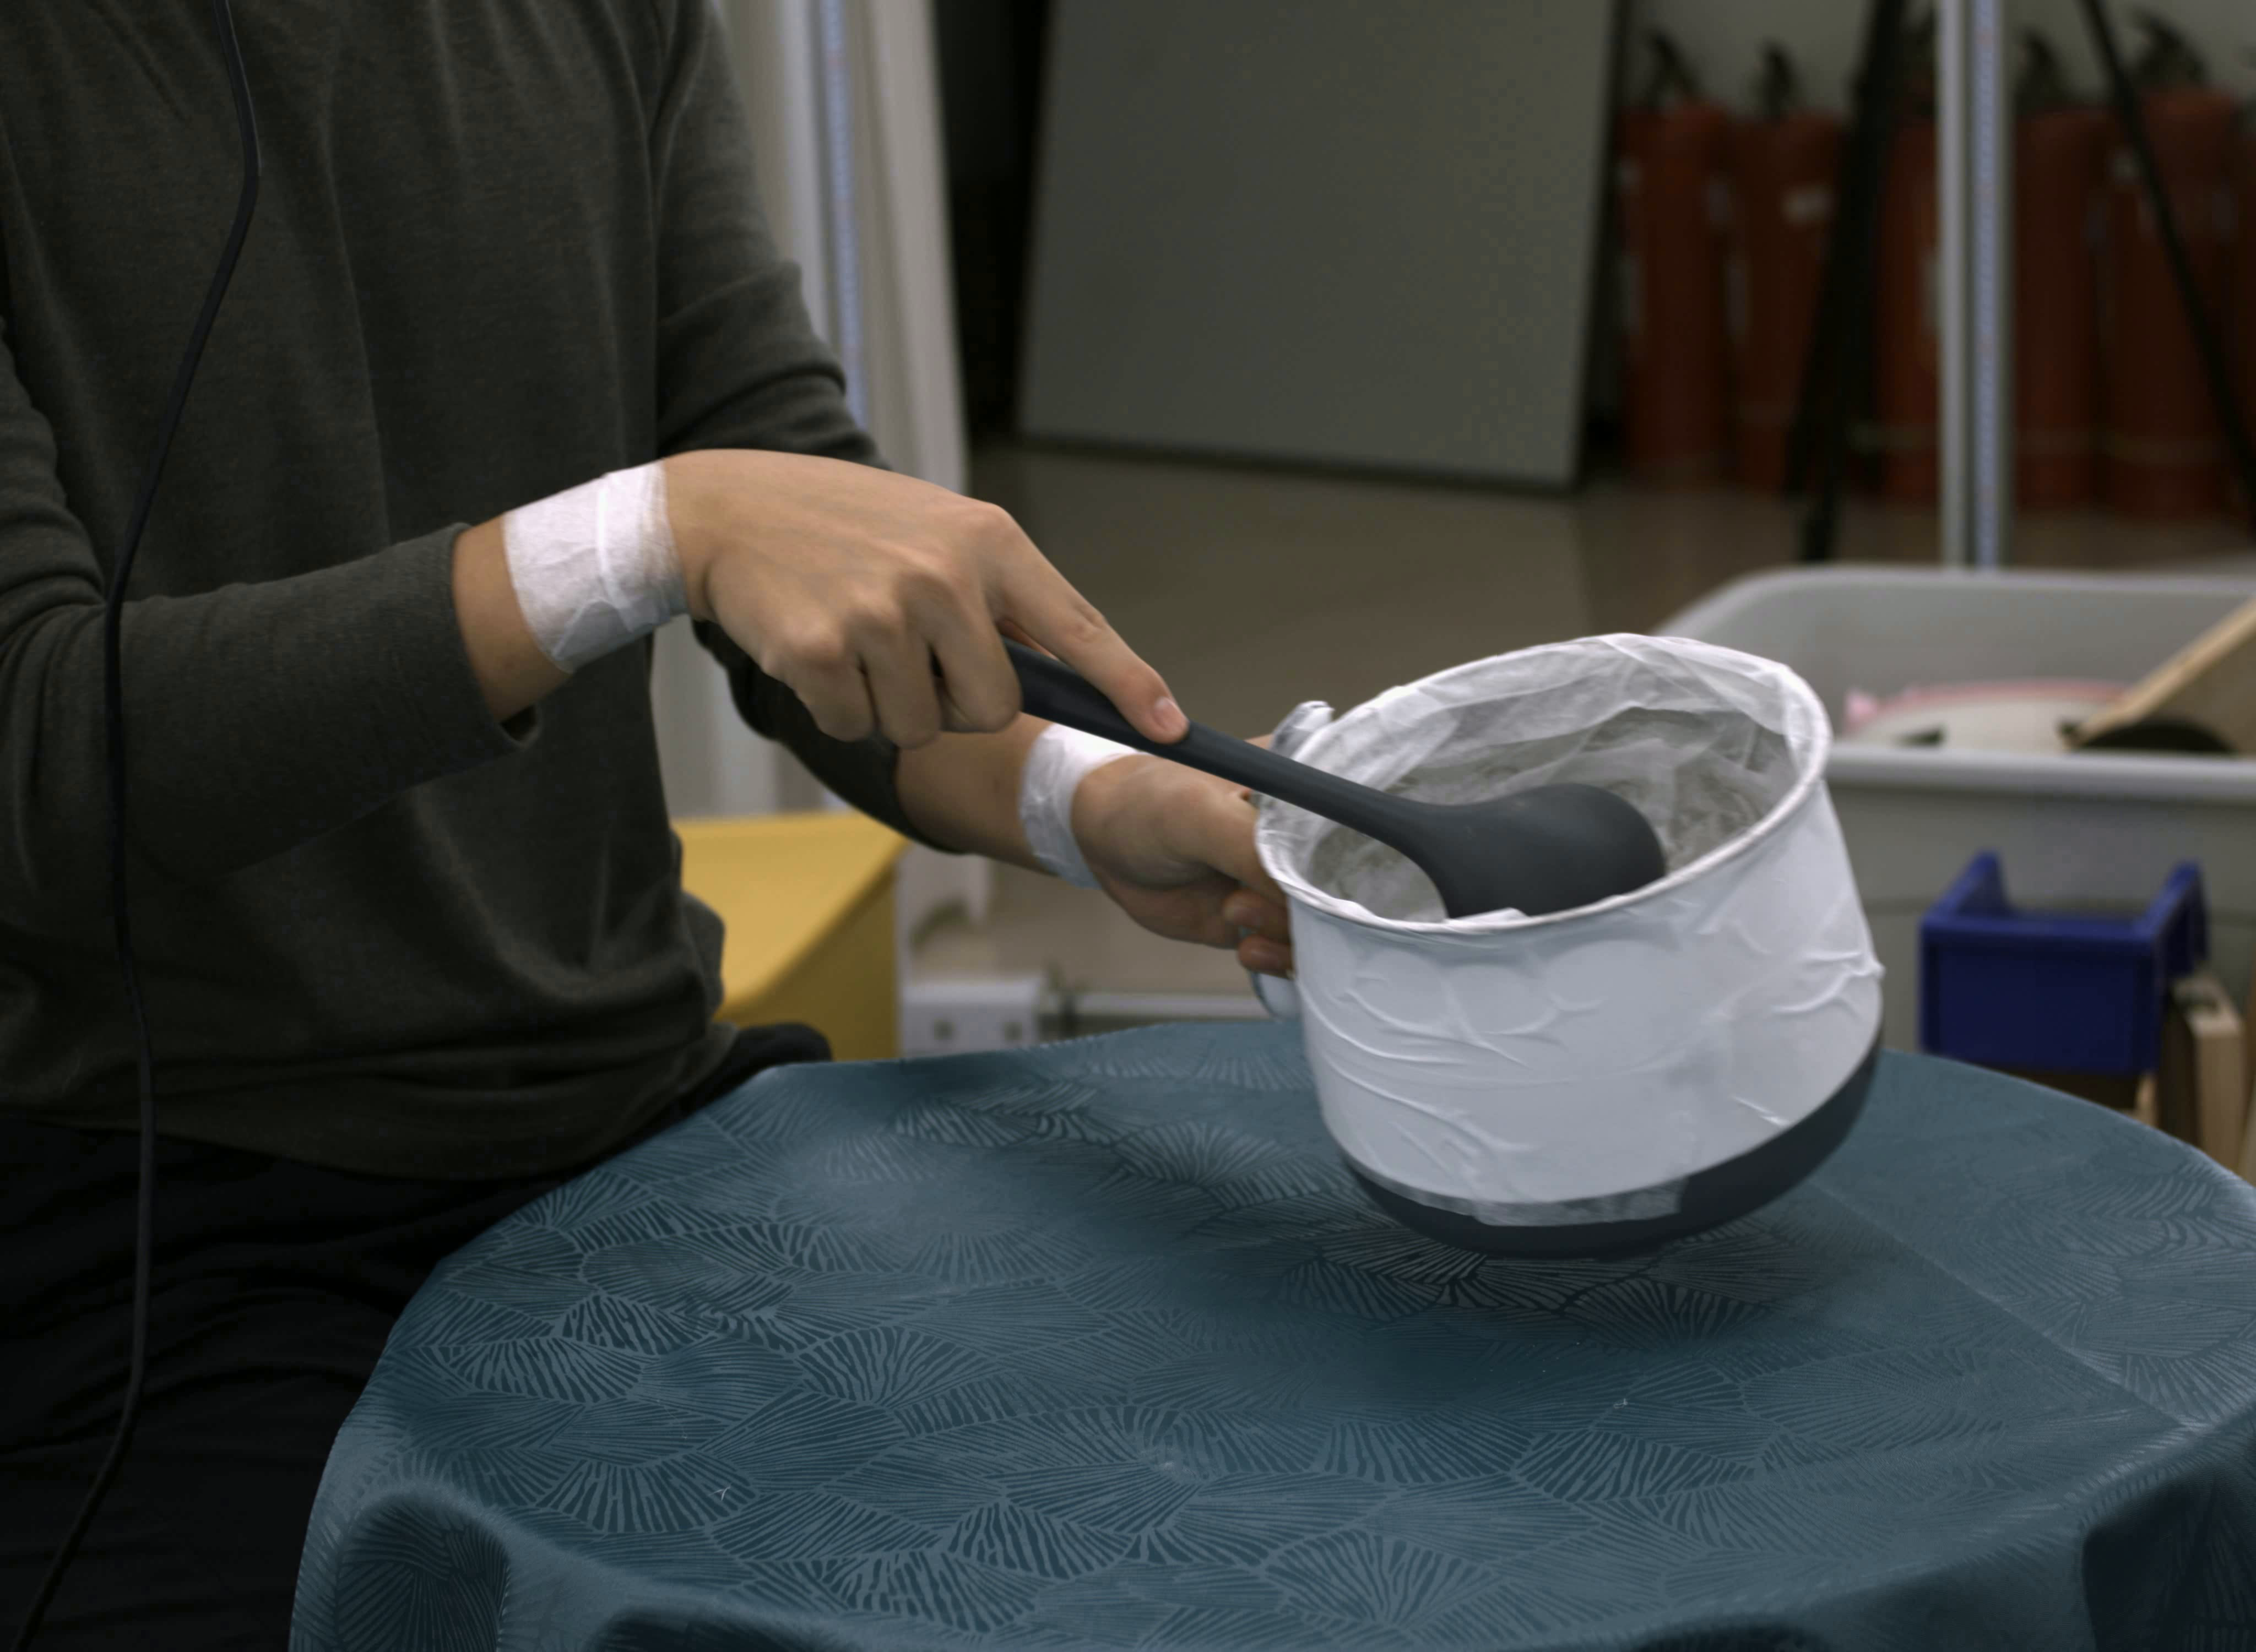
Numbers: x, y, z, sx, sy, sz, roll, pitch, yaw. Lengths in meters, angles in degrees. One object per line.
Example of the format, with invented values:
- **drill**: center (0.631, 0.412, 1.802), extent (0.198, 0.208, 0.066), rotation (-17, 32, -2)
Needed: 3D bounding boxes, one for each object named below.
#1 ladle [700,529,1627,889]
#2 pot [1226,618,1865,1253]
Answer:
- **ladle**: center (0.007, -0.027, 1.679), extent (0.314, 0.086, 0.064), rotation (20, -24, 19)
- **pot**: center (0.114, 0.030, 1.662), extent (0.176, 0.137, 0.236), rotation (-33, 31, -34)
